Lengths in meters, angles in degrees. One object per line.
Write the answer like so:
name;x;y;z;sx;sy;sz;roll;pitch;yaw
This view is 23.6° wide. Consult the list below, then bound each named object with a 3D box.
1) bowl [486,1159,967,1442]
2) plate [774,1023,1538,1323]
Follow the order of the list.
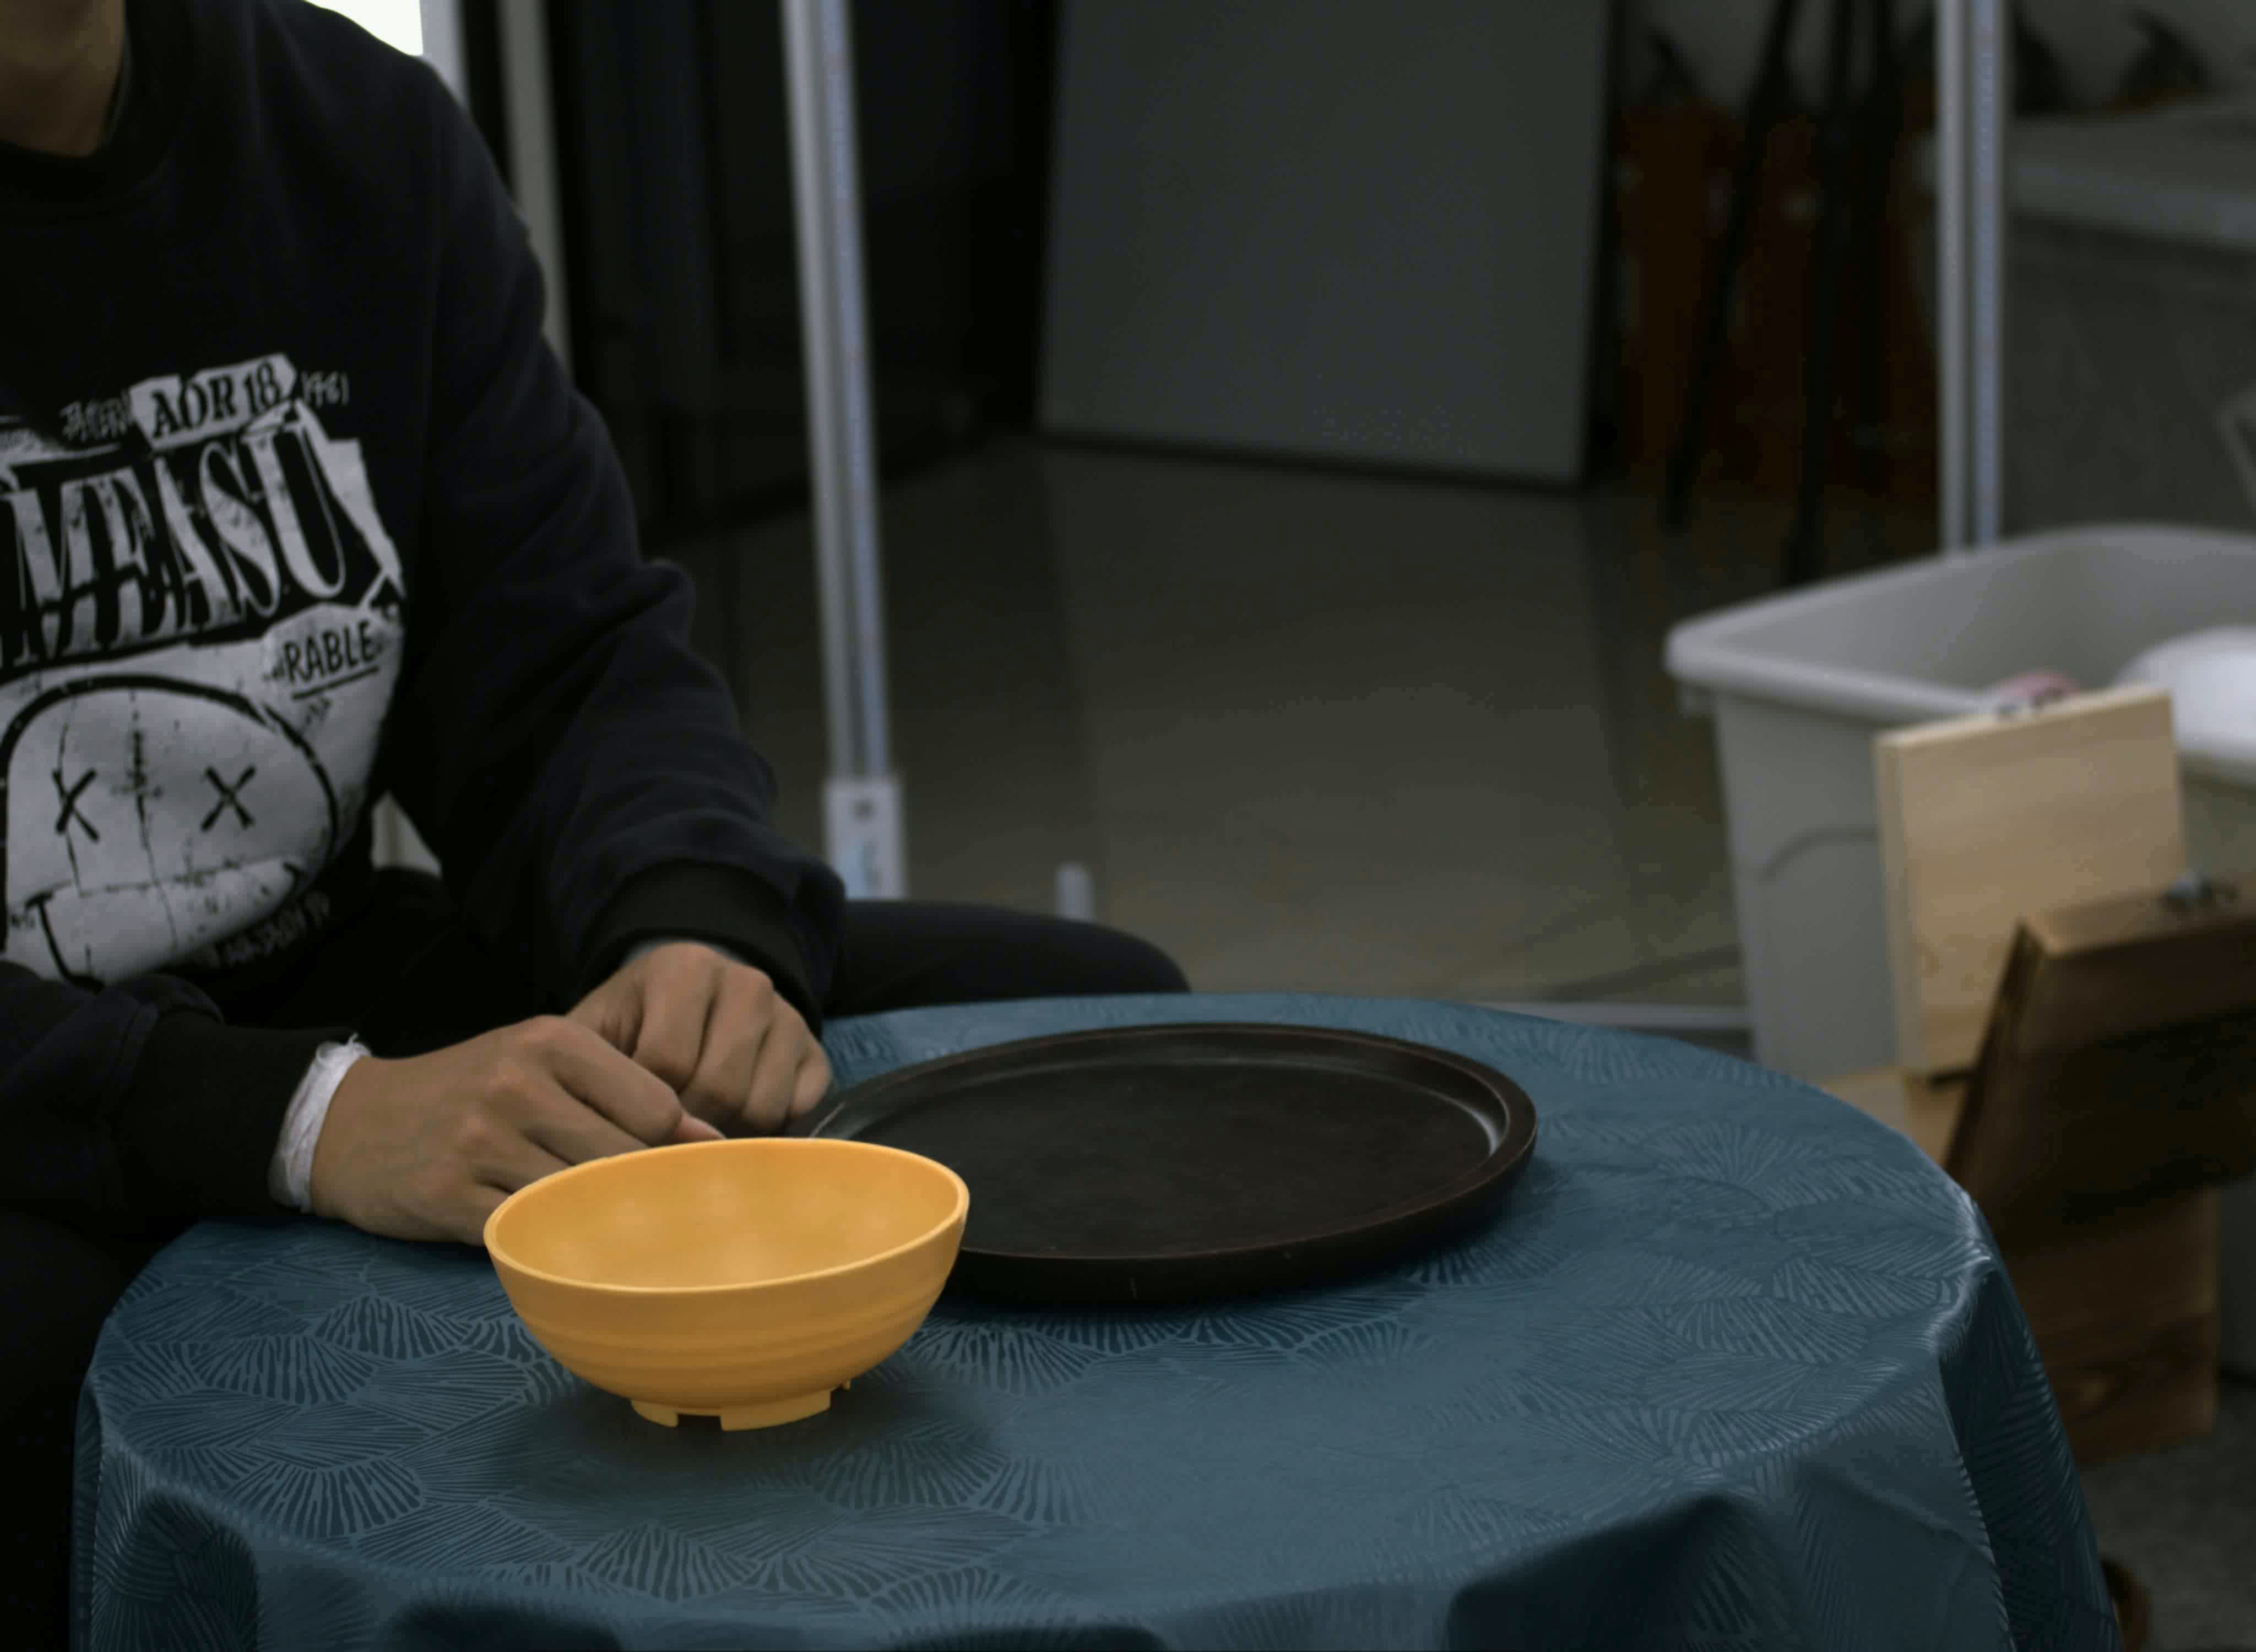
bowl;-0.116;0.144;1.598;0.143;0.061;0.145;-4;11;0
plate;0.010;0.111;1.764;0.251;0.029;0.255;-6;14;1
